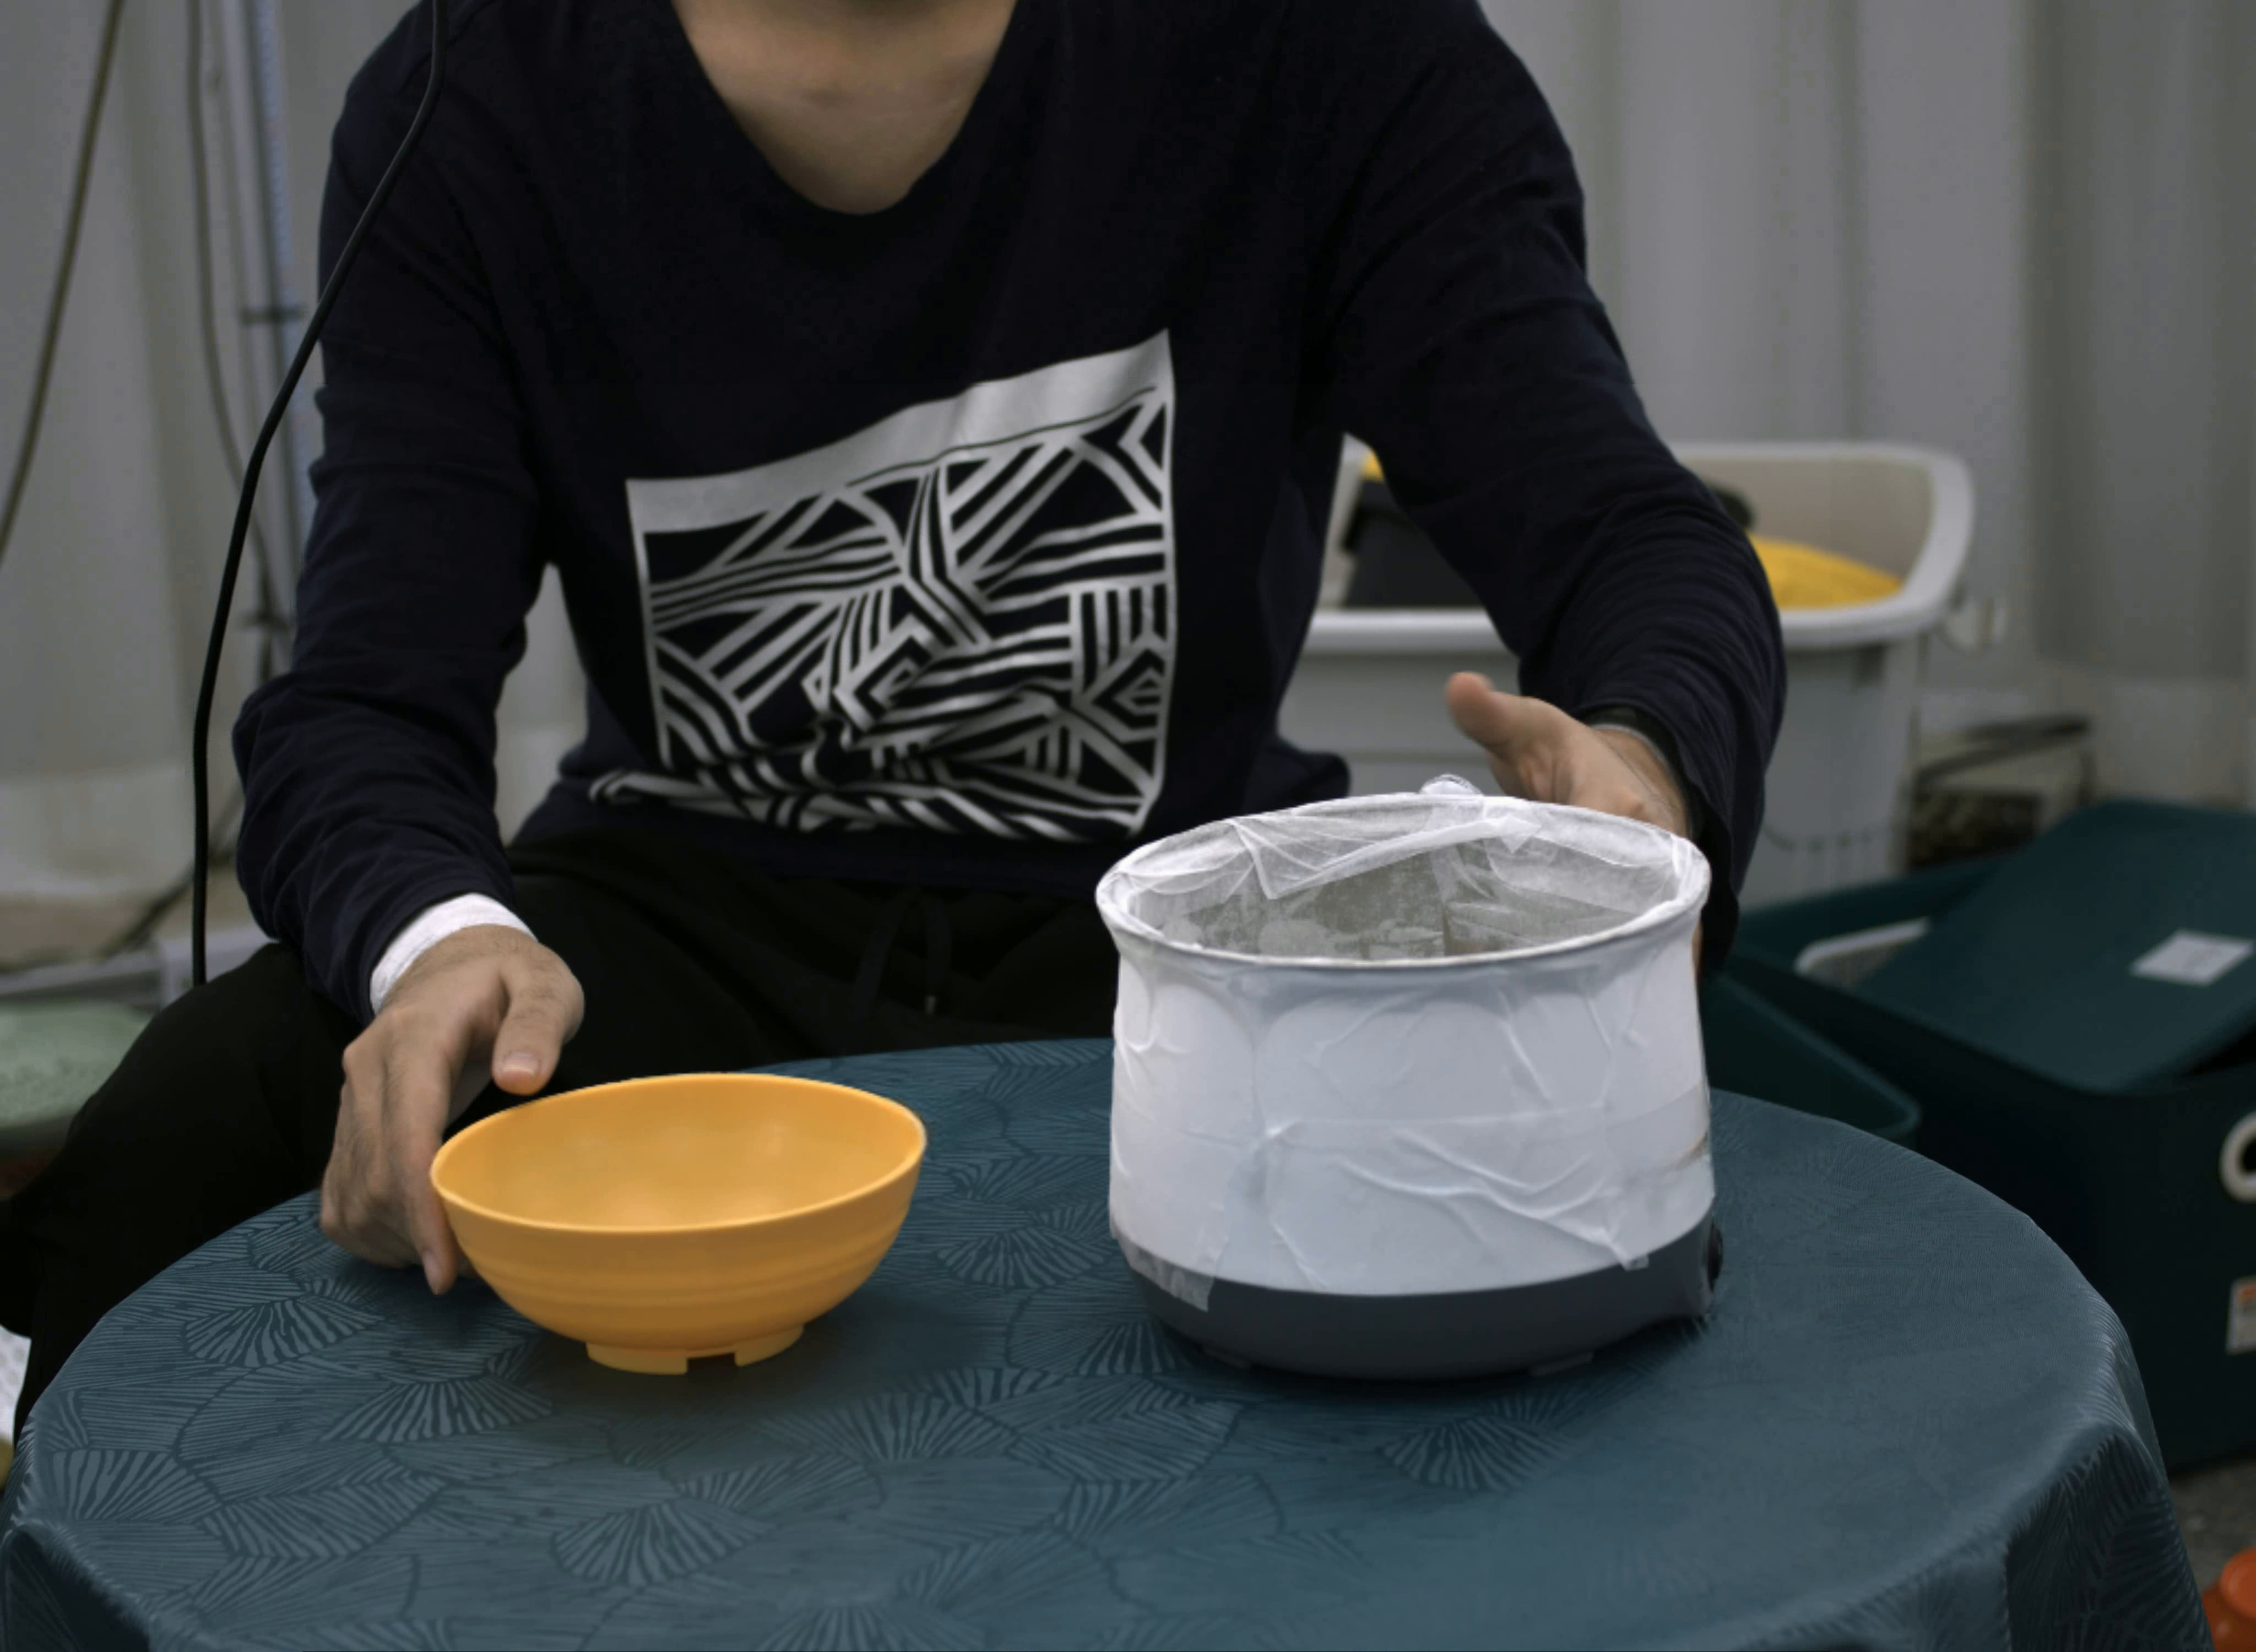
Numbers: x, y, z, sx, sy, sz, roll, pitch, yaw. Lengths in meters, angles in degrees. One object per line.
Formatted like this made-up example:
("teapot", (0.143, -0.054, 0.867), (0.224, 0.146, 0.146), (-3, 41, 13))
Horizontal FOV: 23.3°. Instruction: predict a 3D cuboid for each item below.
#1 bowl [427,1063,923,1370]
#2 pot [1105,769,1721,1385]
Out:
("bowl", (-0.131, 0.120, 1.601), (0.145, 0.060, 0.146), (-2, 15, 0))
("pot", (0.086, 0.068, 1.611), (0.178, 0.136, 0.235), (2, 16, 9))
